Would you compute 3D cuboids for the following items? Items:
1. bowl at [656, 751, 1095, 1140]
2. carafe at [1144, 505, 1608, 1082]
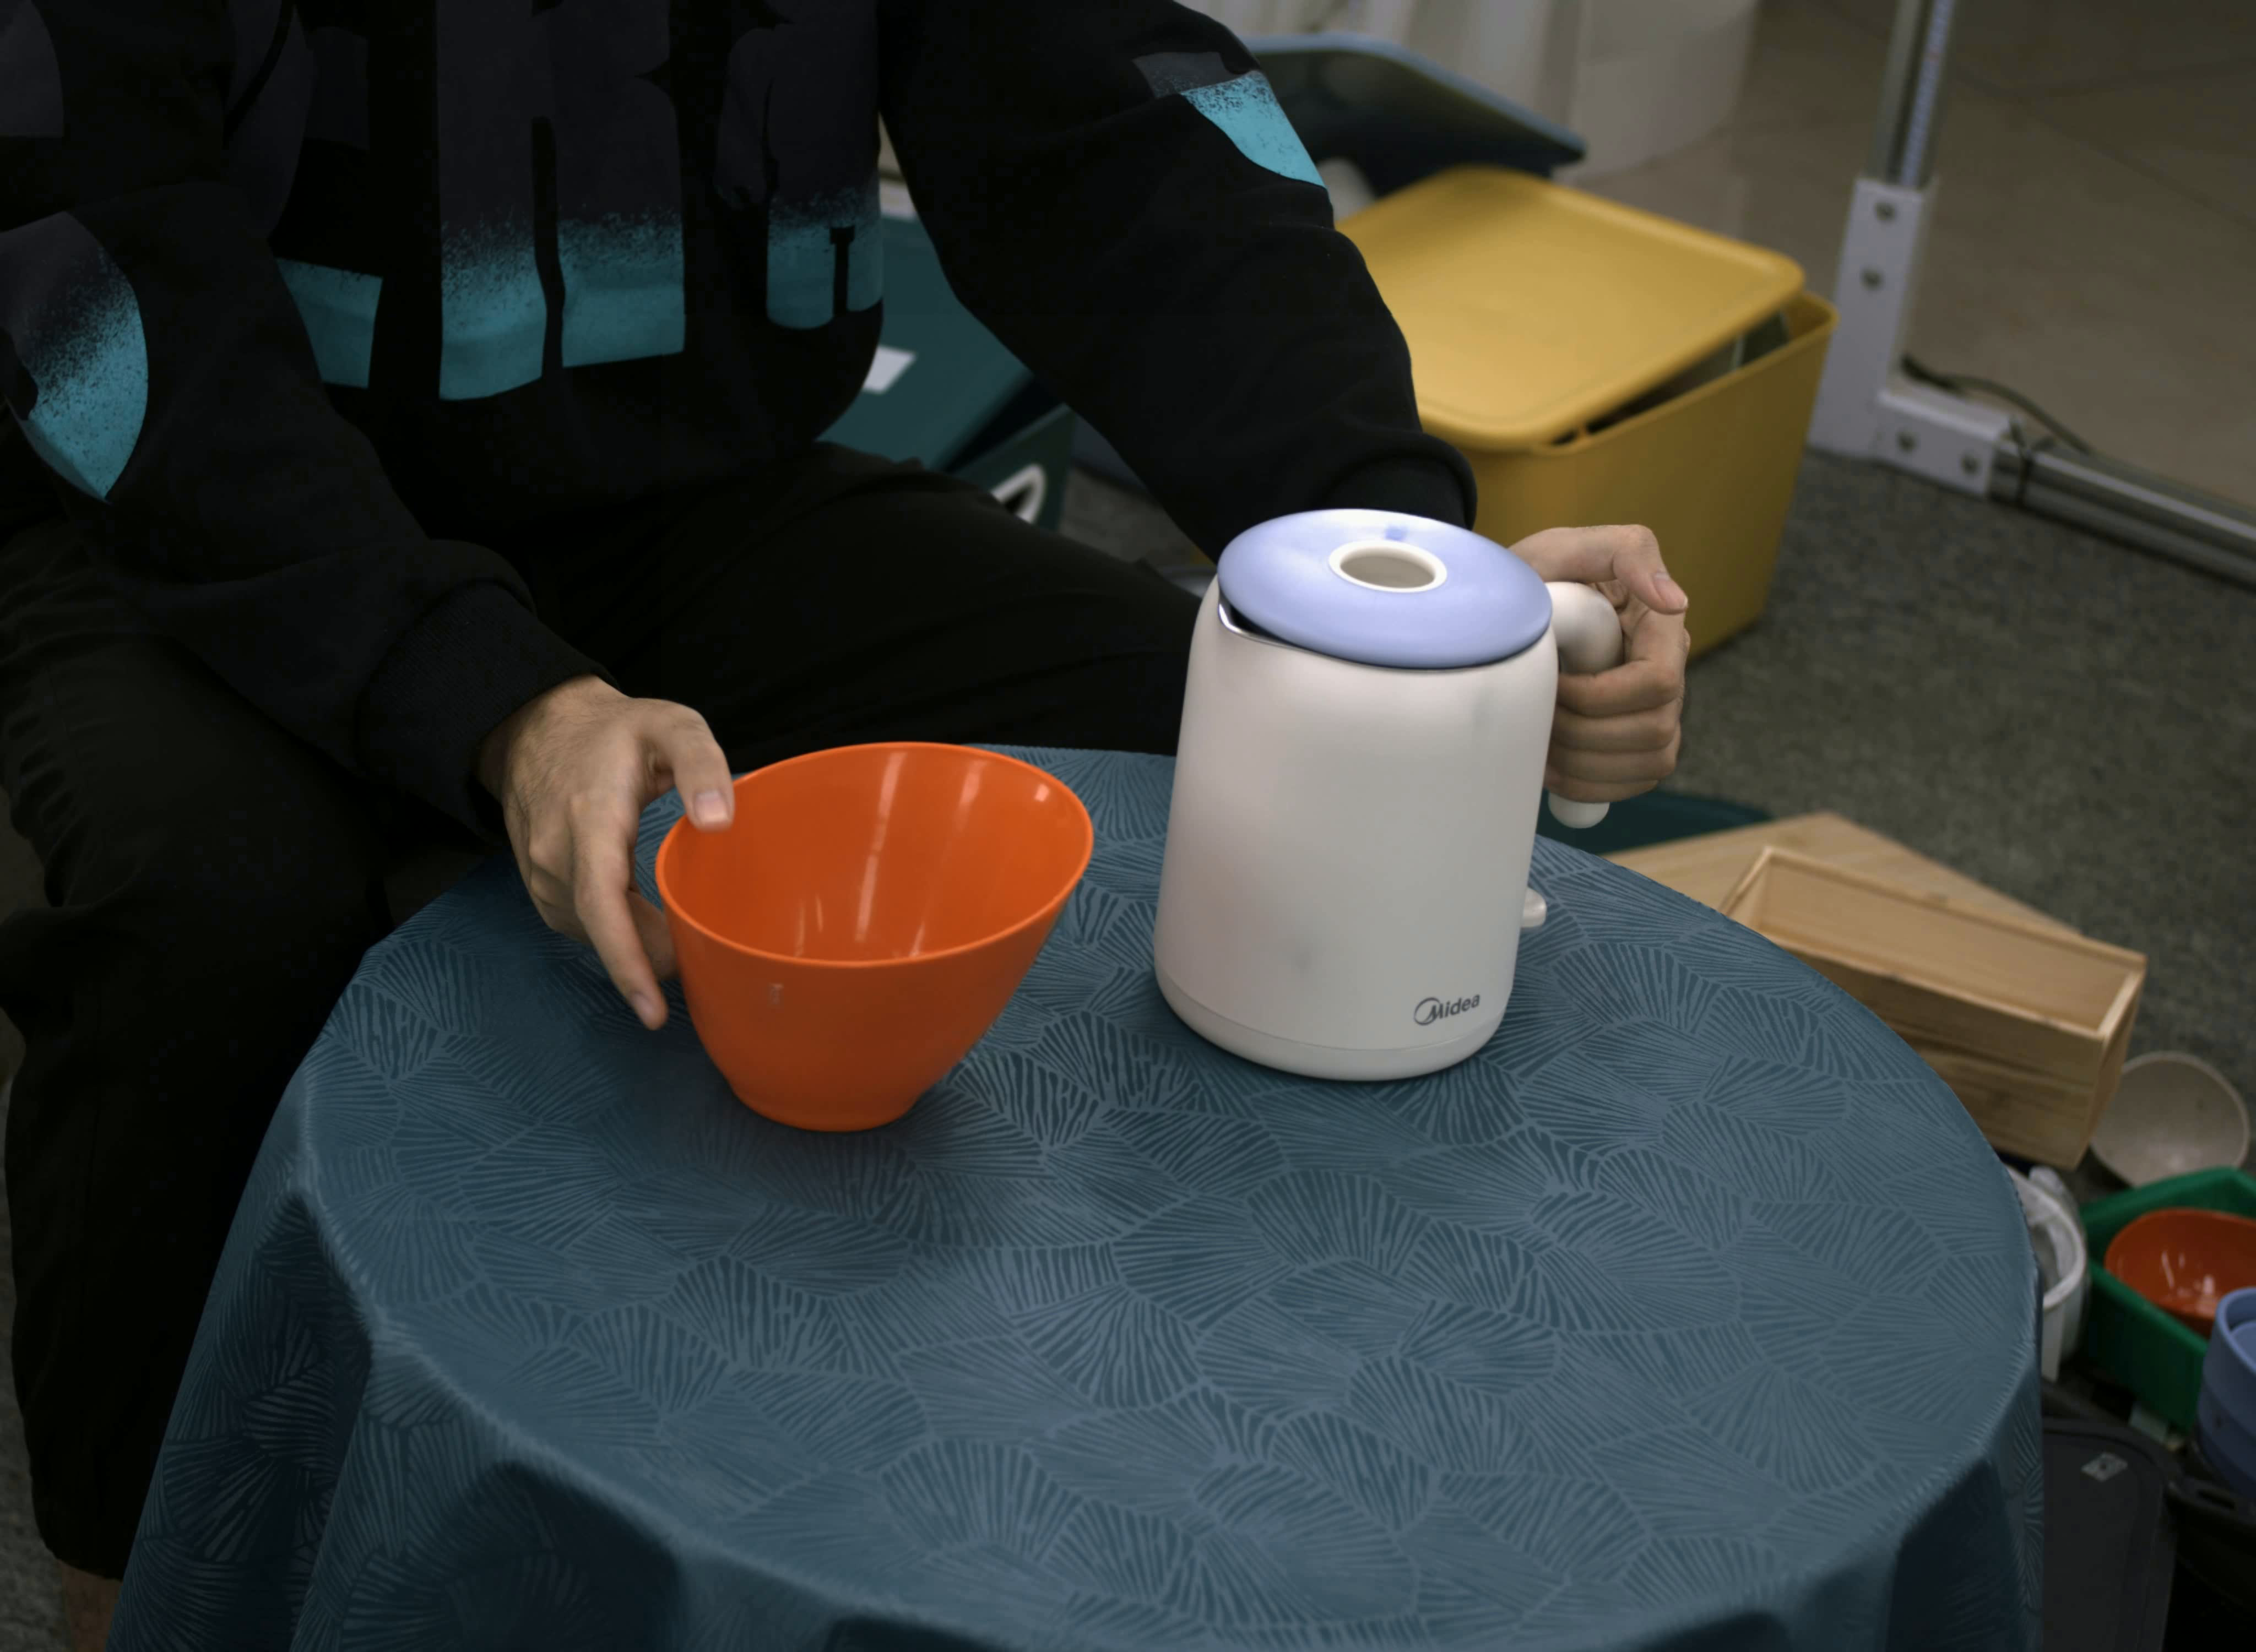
[{"bbox_3d":[-0.090,0.046,1.821,0.147,0.104,0.149,5,27,-3],"label":"bowl"},{"bbox_3d":[0.099,-0.016,1.909,0.190,0.182,0.133,-11,33,-36],"label":"carafe"}]
